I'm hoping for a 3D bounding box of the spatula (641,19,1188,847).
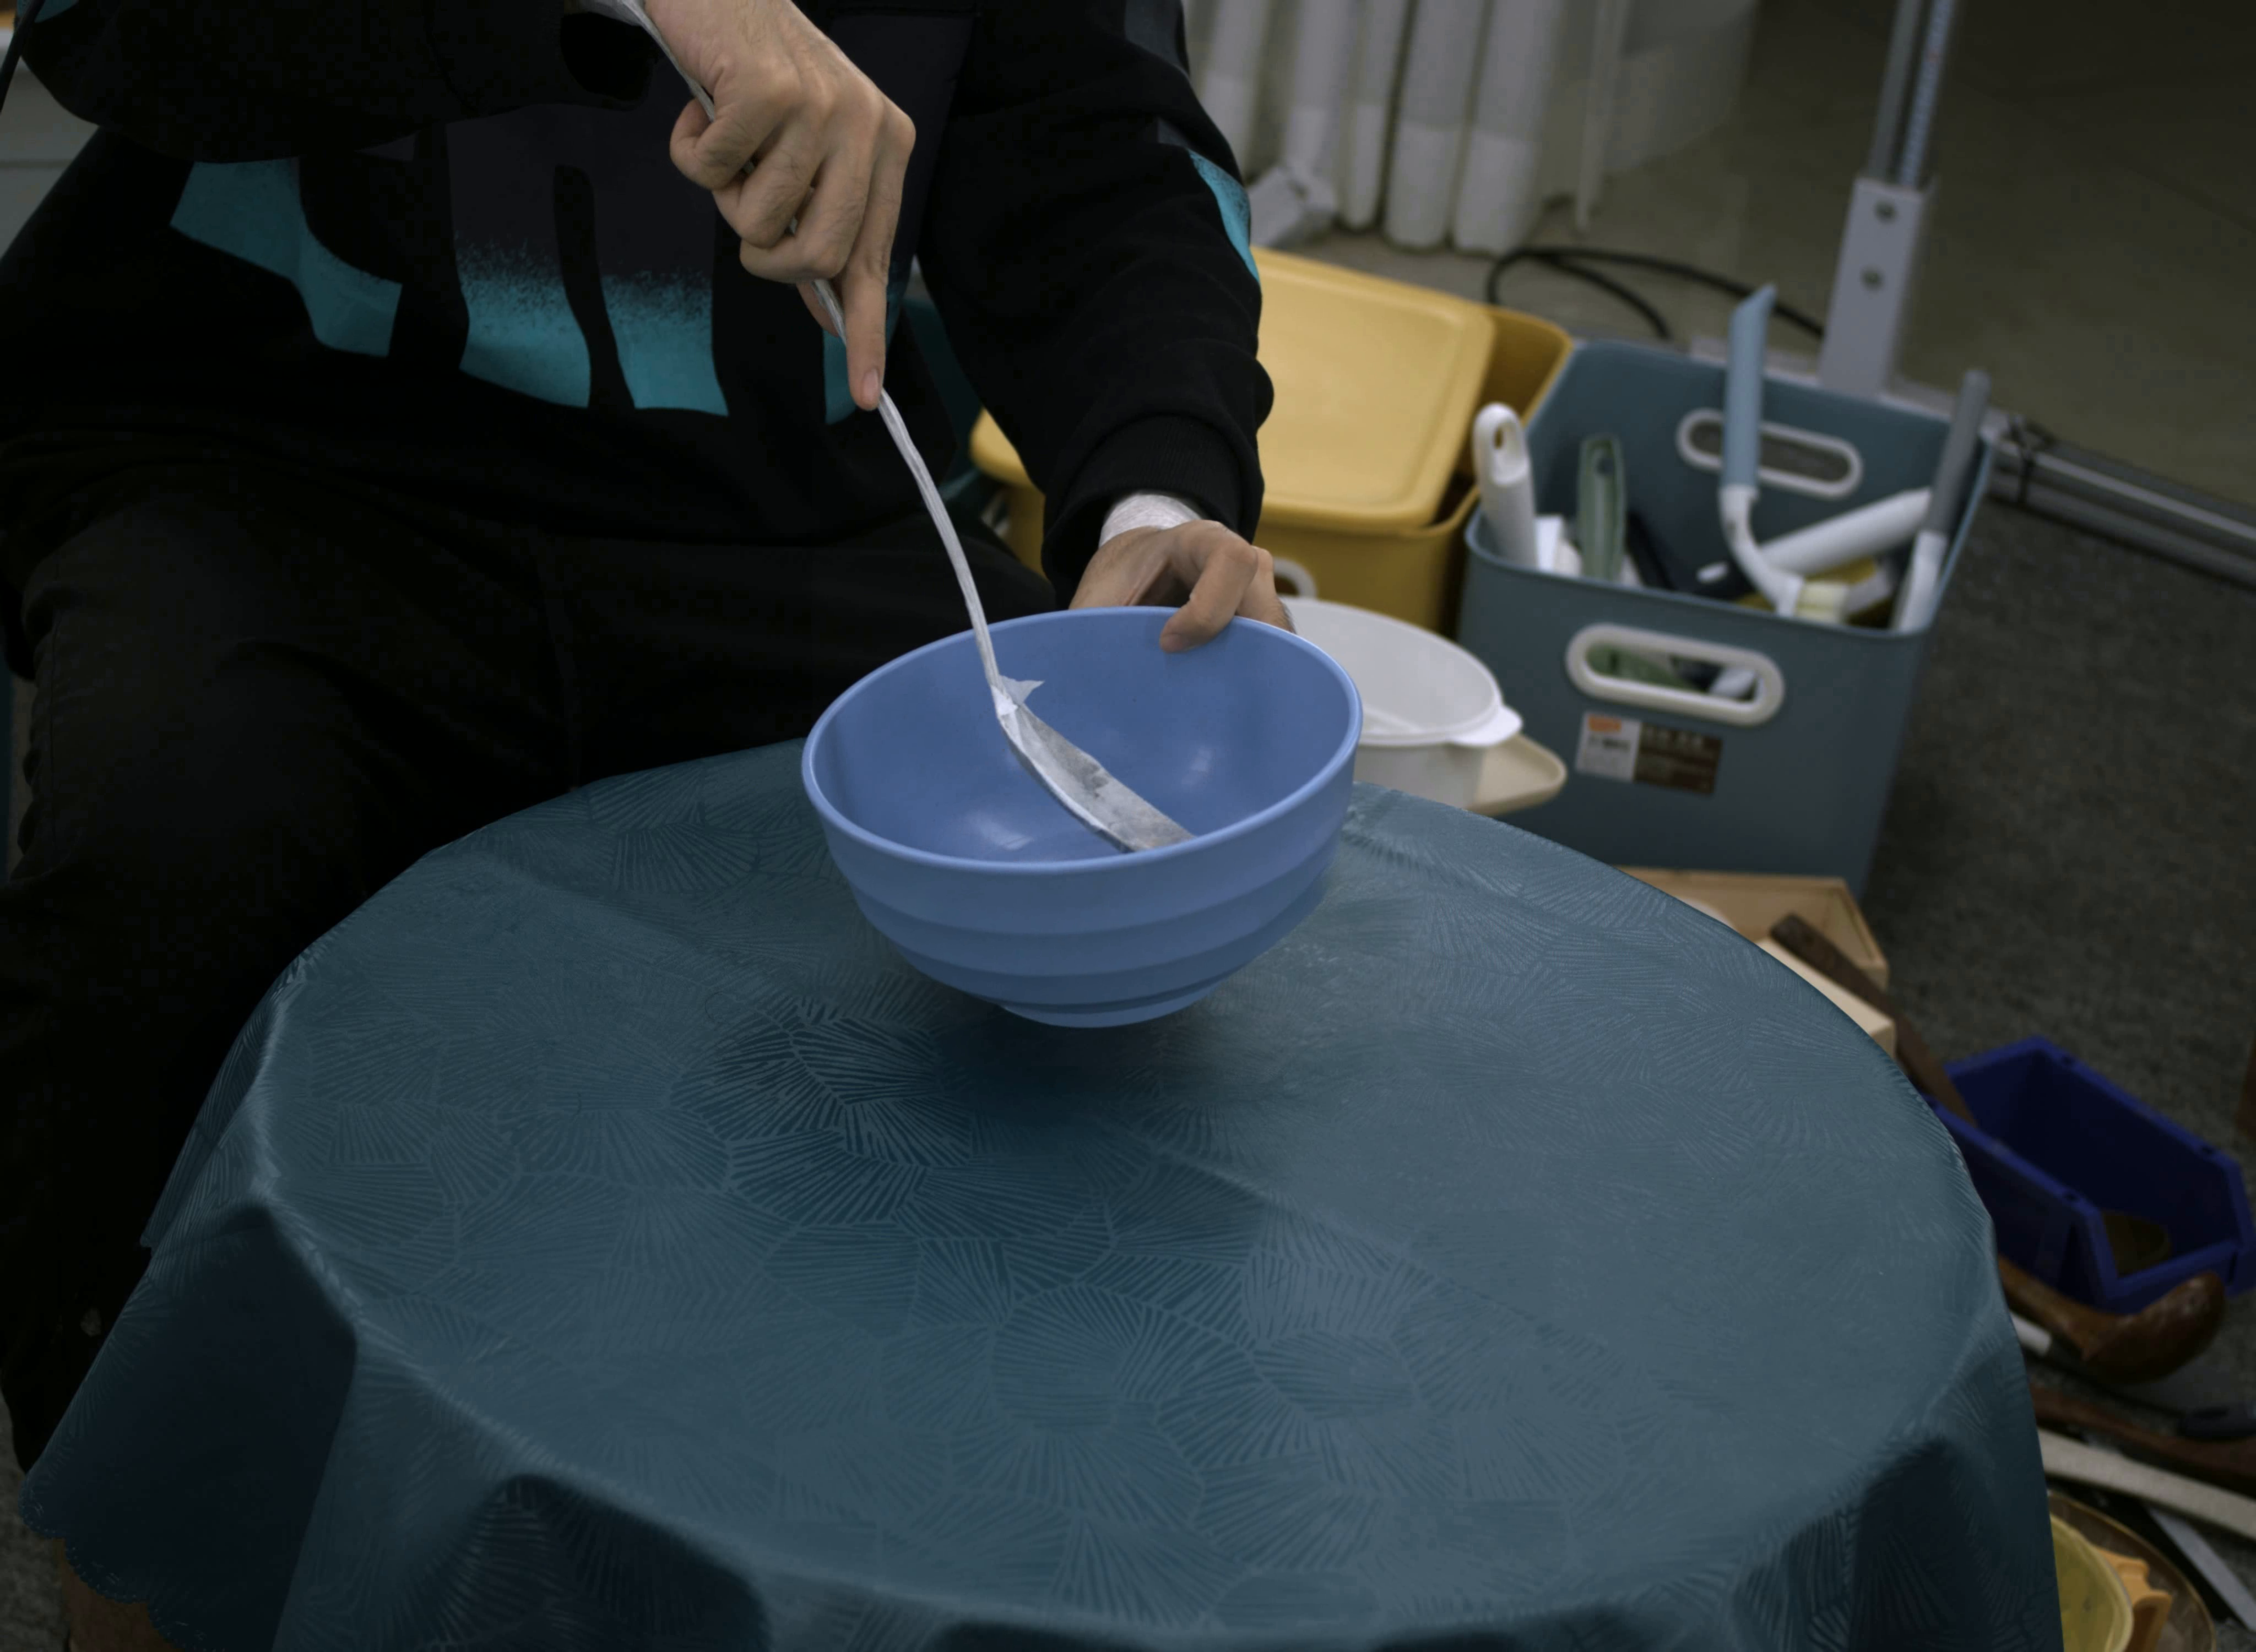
[{"bbox_3d":[-0.069,-0.126,1.838,0.045,0.365,0.098,-27,2,11],"label":"spatula"}]

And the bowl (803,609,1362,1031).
[{"bbox_3d":[-0.011,0.008,1.868,0.196,0.095,0.198,-7,27,3],"label":"bowl"}]
